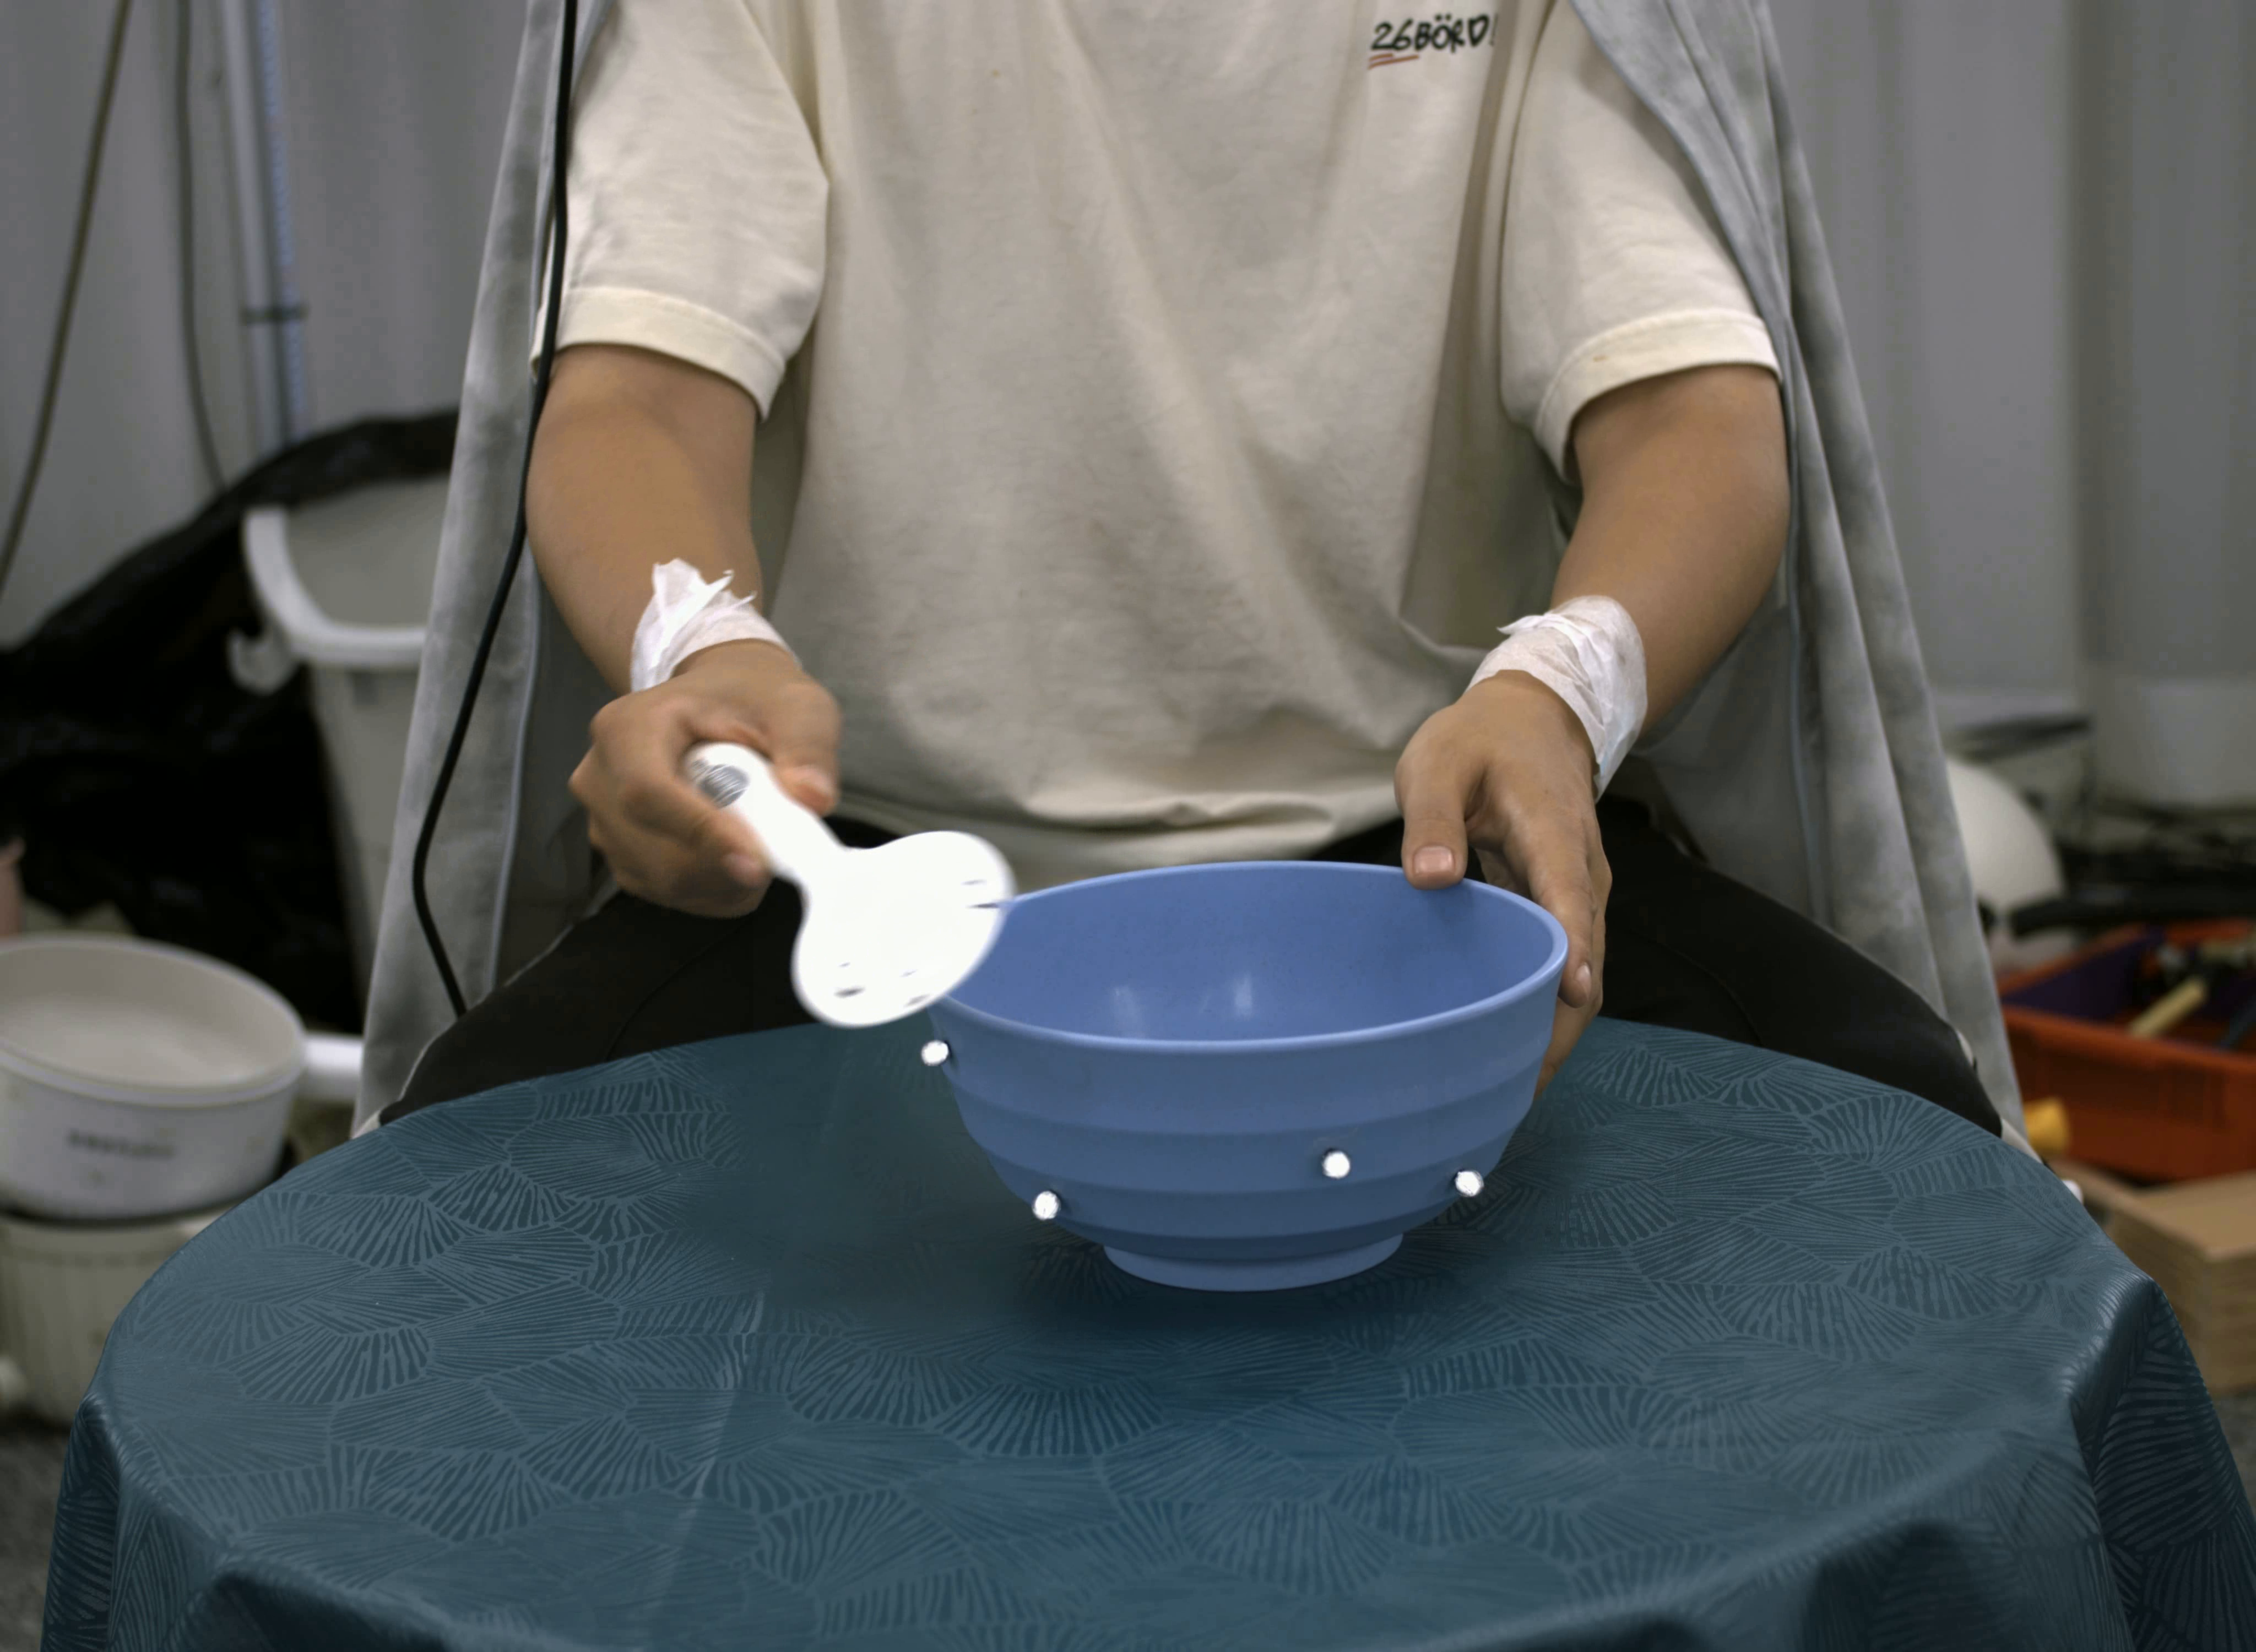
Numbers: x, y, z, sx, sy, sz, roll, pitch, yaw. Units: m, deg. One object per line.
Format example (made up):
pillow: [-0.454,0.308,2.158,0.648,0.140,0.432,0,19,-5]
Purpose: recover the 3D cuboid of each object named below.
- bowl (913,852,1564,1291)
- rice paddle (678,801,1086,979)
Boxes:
bowl: [0.036,0.080,1.655,0.196,0.095,0.198,-4,16,1]
rice paddle: [-0.076,0.017,1.627,0.069,0.029,0.206,-37,22,-22]
